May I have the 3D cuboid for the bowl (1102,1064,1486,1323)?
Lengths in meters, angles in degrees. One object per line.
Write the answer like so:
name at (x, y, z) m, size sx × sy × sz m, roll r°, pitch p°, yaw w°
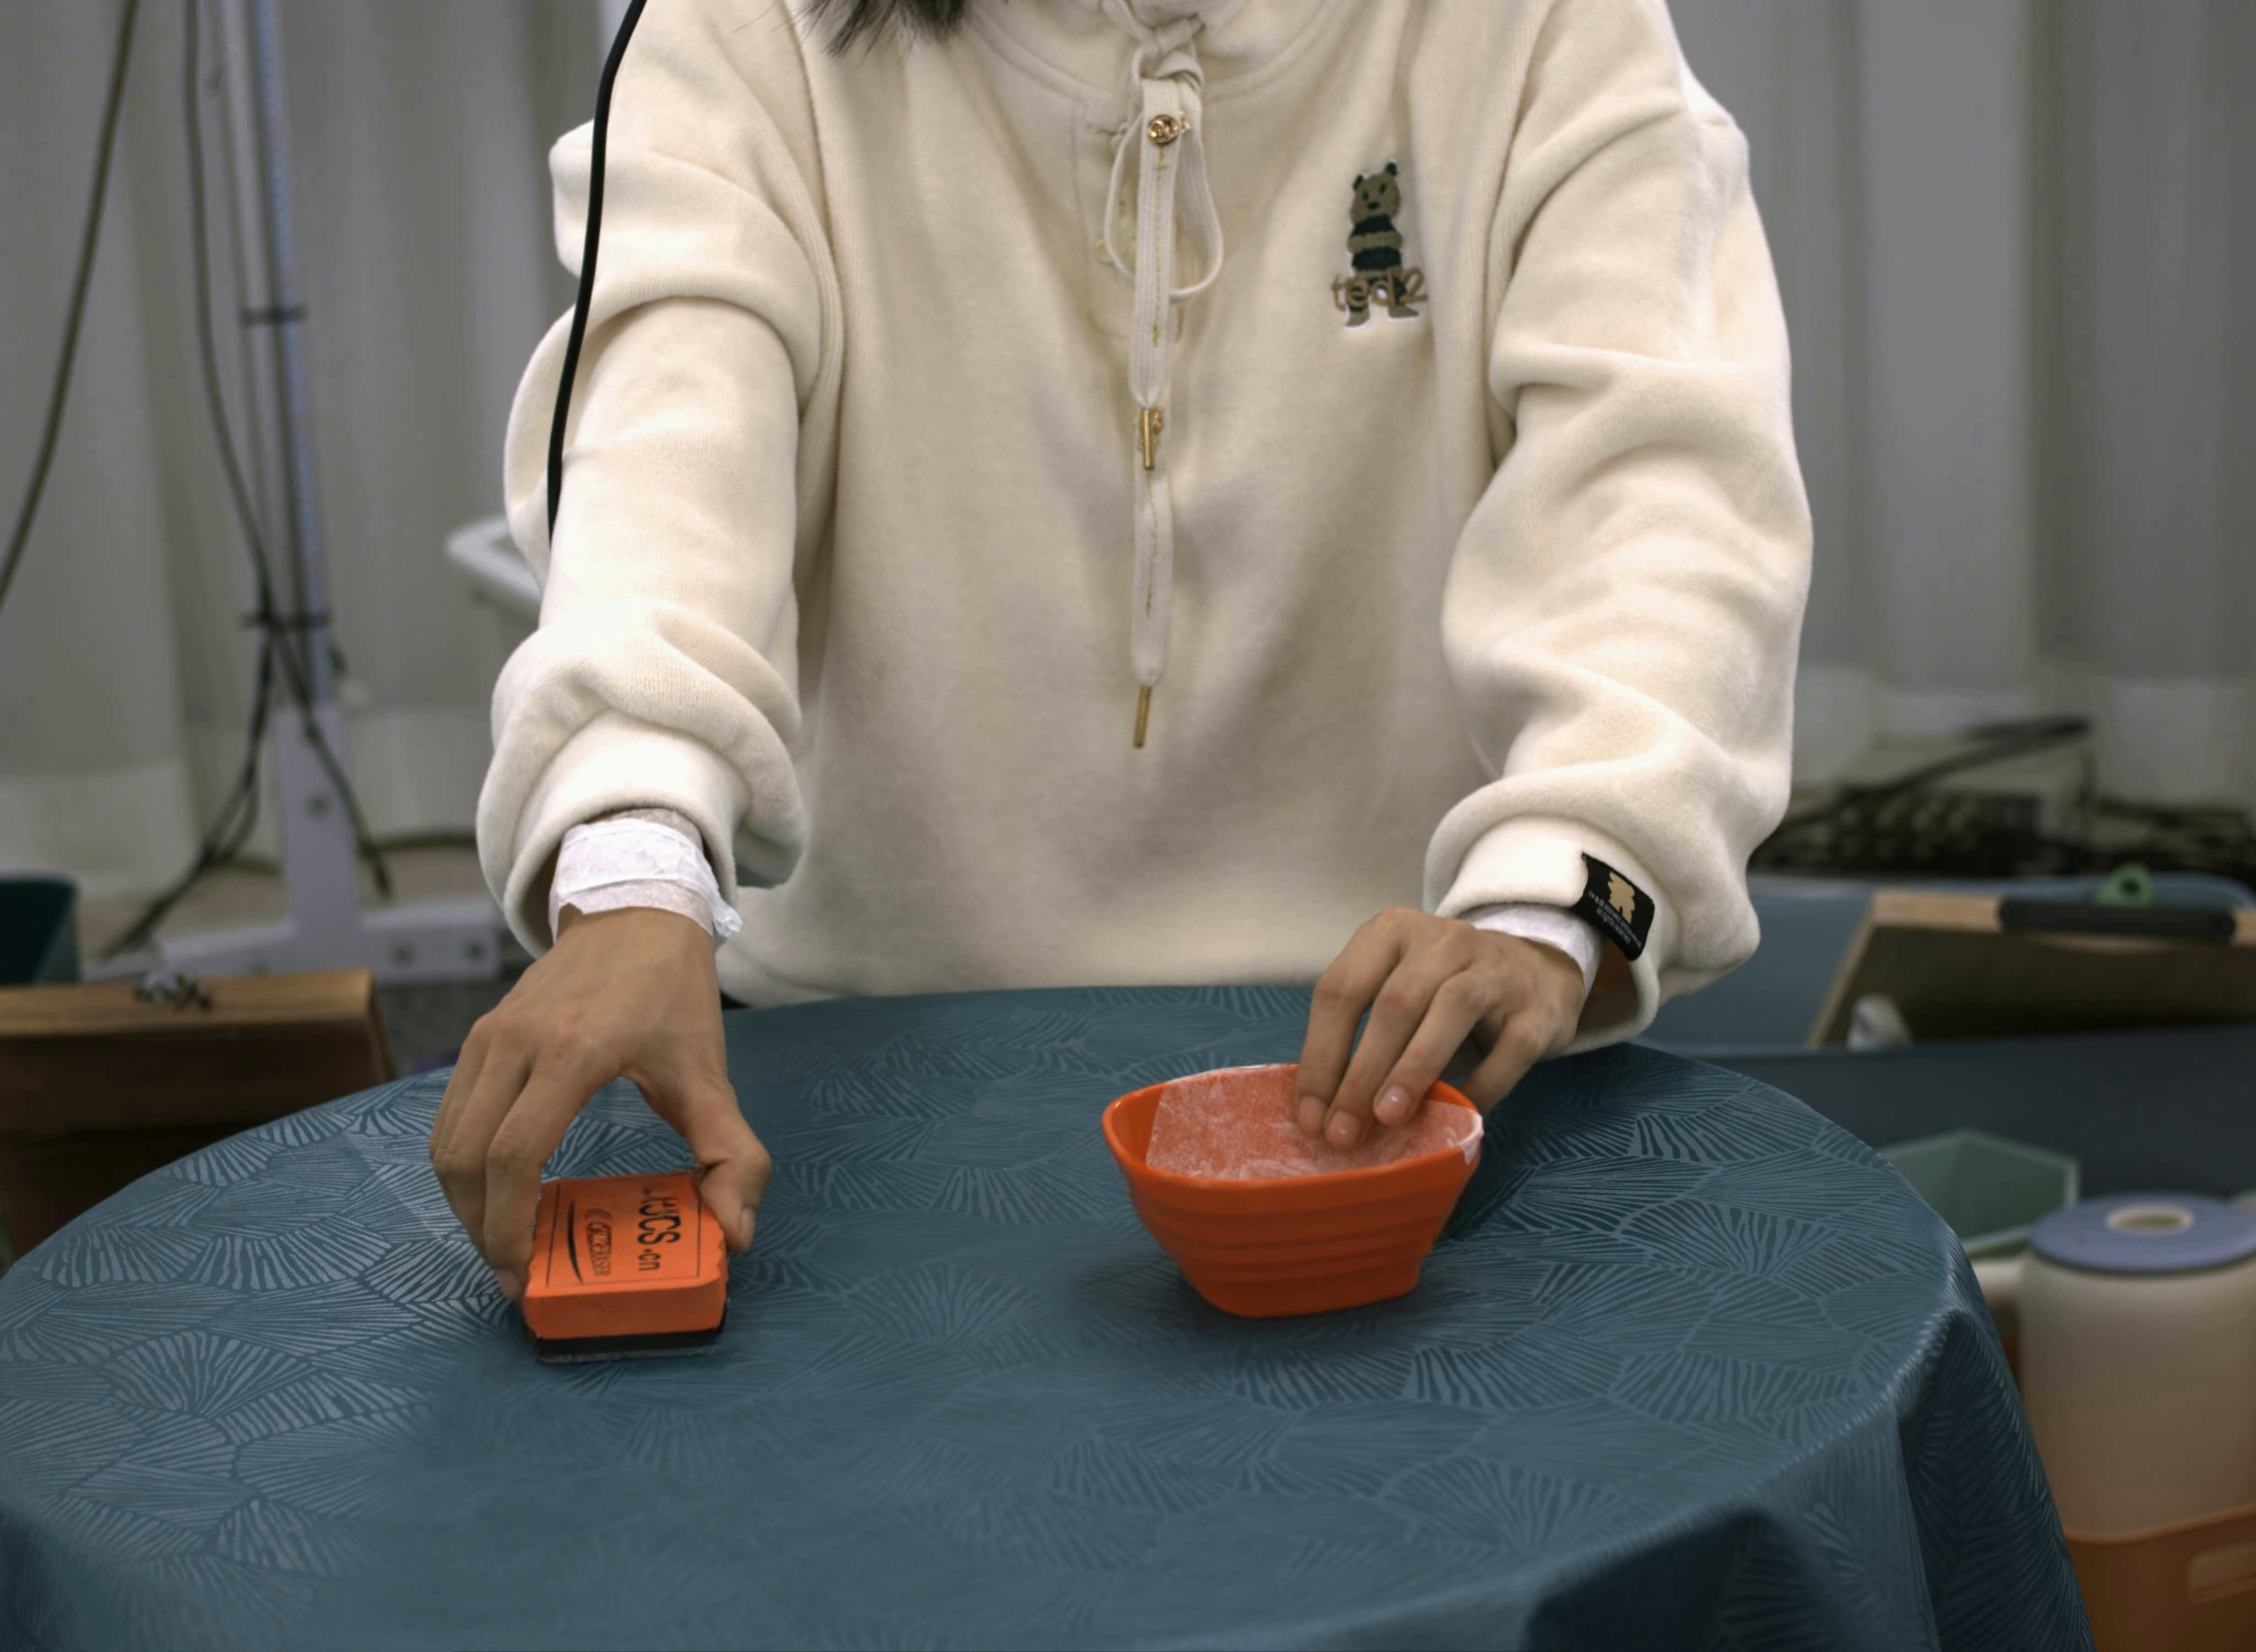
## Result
bowl at (0.050, 0.111, 1.622) m, size 0.118 × 0.051 × 0.119 m, roll -4°, pitch 14°, yaw 1°

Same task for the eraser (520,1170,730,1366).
eraser at (-0.149, 0.131, 1.636) m, size 0.059 × 0.023 × 0.109 m, roll -5°, pitch 15°, yaw -1°
